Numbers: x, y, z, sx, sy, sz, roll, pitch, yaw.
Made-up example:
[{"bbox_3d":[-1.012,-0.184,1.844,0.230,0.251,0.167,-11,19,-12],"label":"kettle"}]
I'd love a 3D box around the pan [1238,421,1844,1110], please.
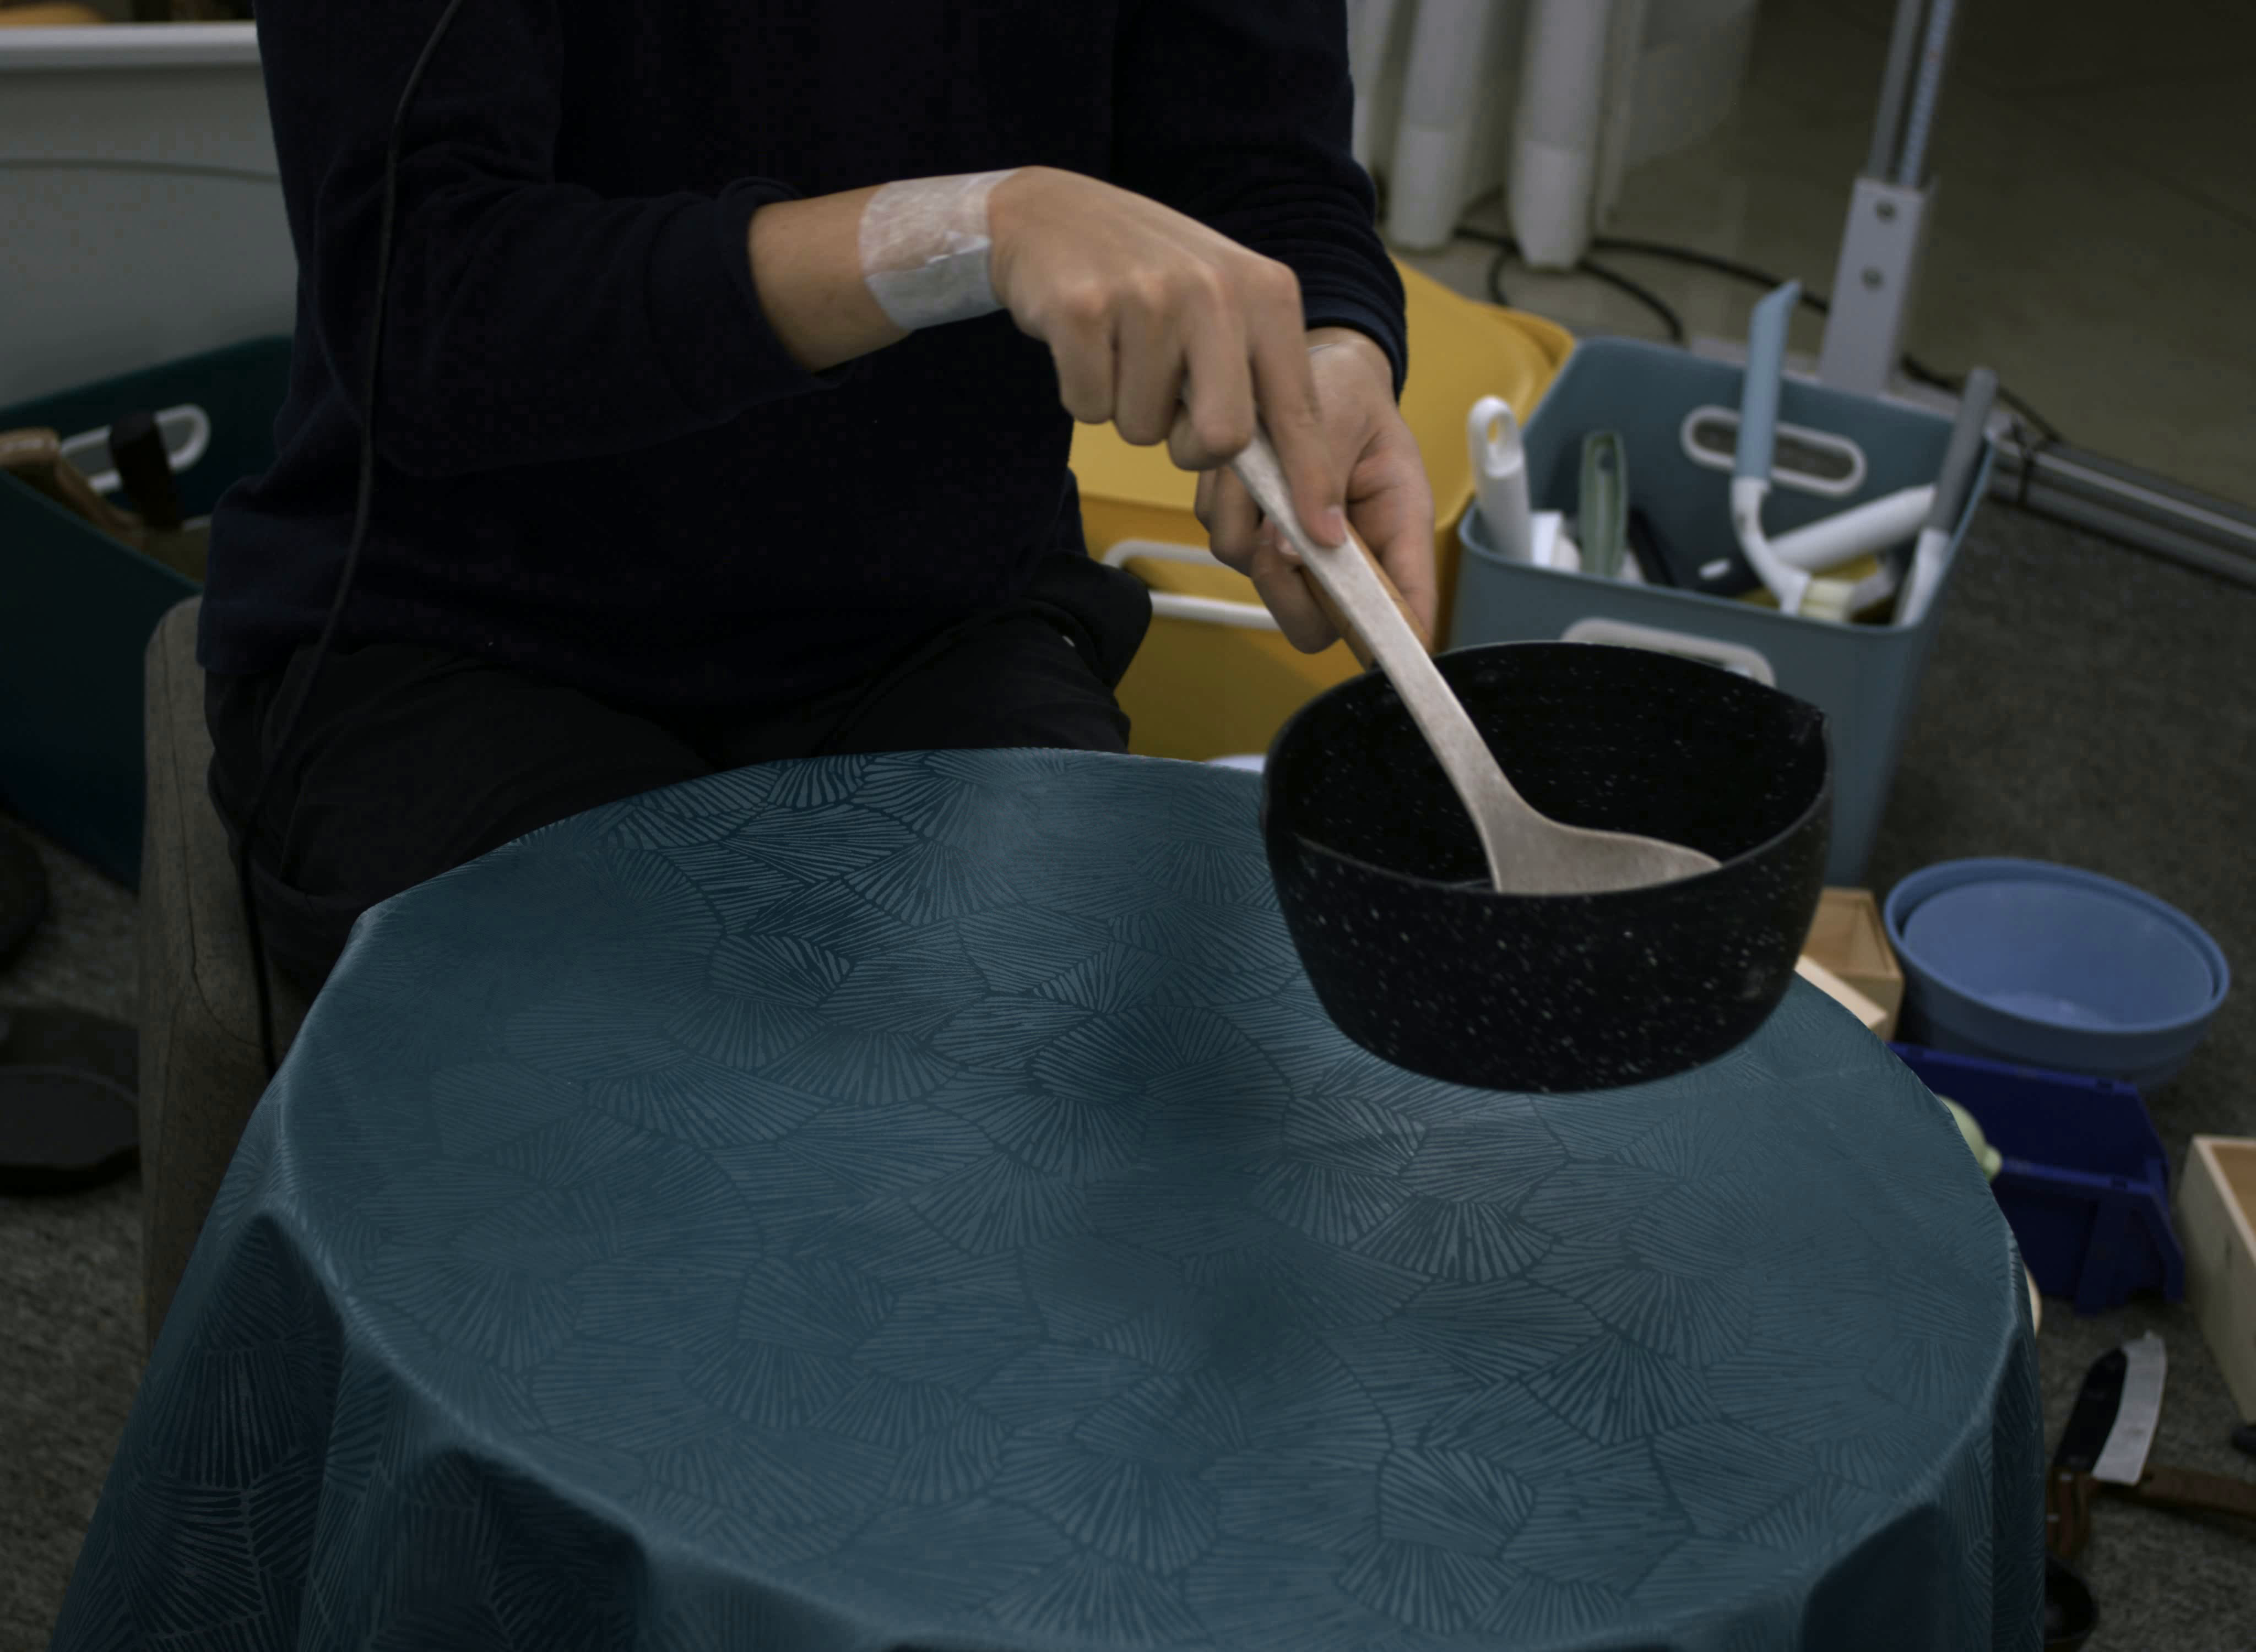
[{"bbox_3d":[0.109,-0.025,1.791,0.206,0.108,0.346,-14,30,-17],"label":"pan"}]

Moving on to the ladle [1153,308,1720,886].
[{"bbox_3d":[0.102,-0.062,1.721,0.089,0.275,0.069,-33,2,-40],"label":"ladle"}]
